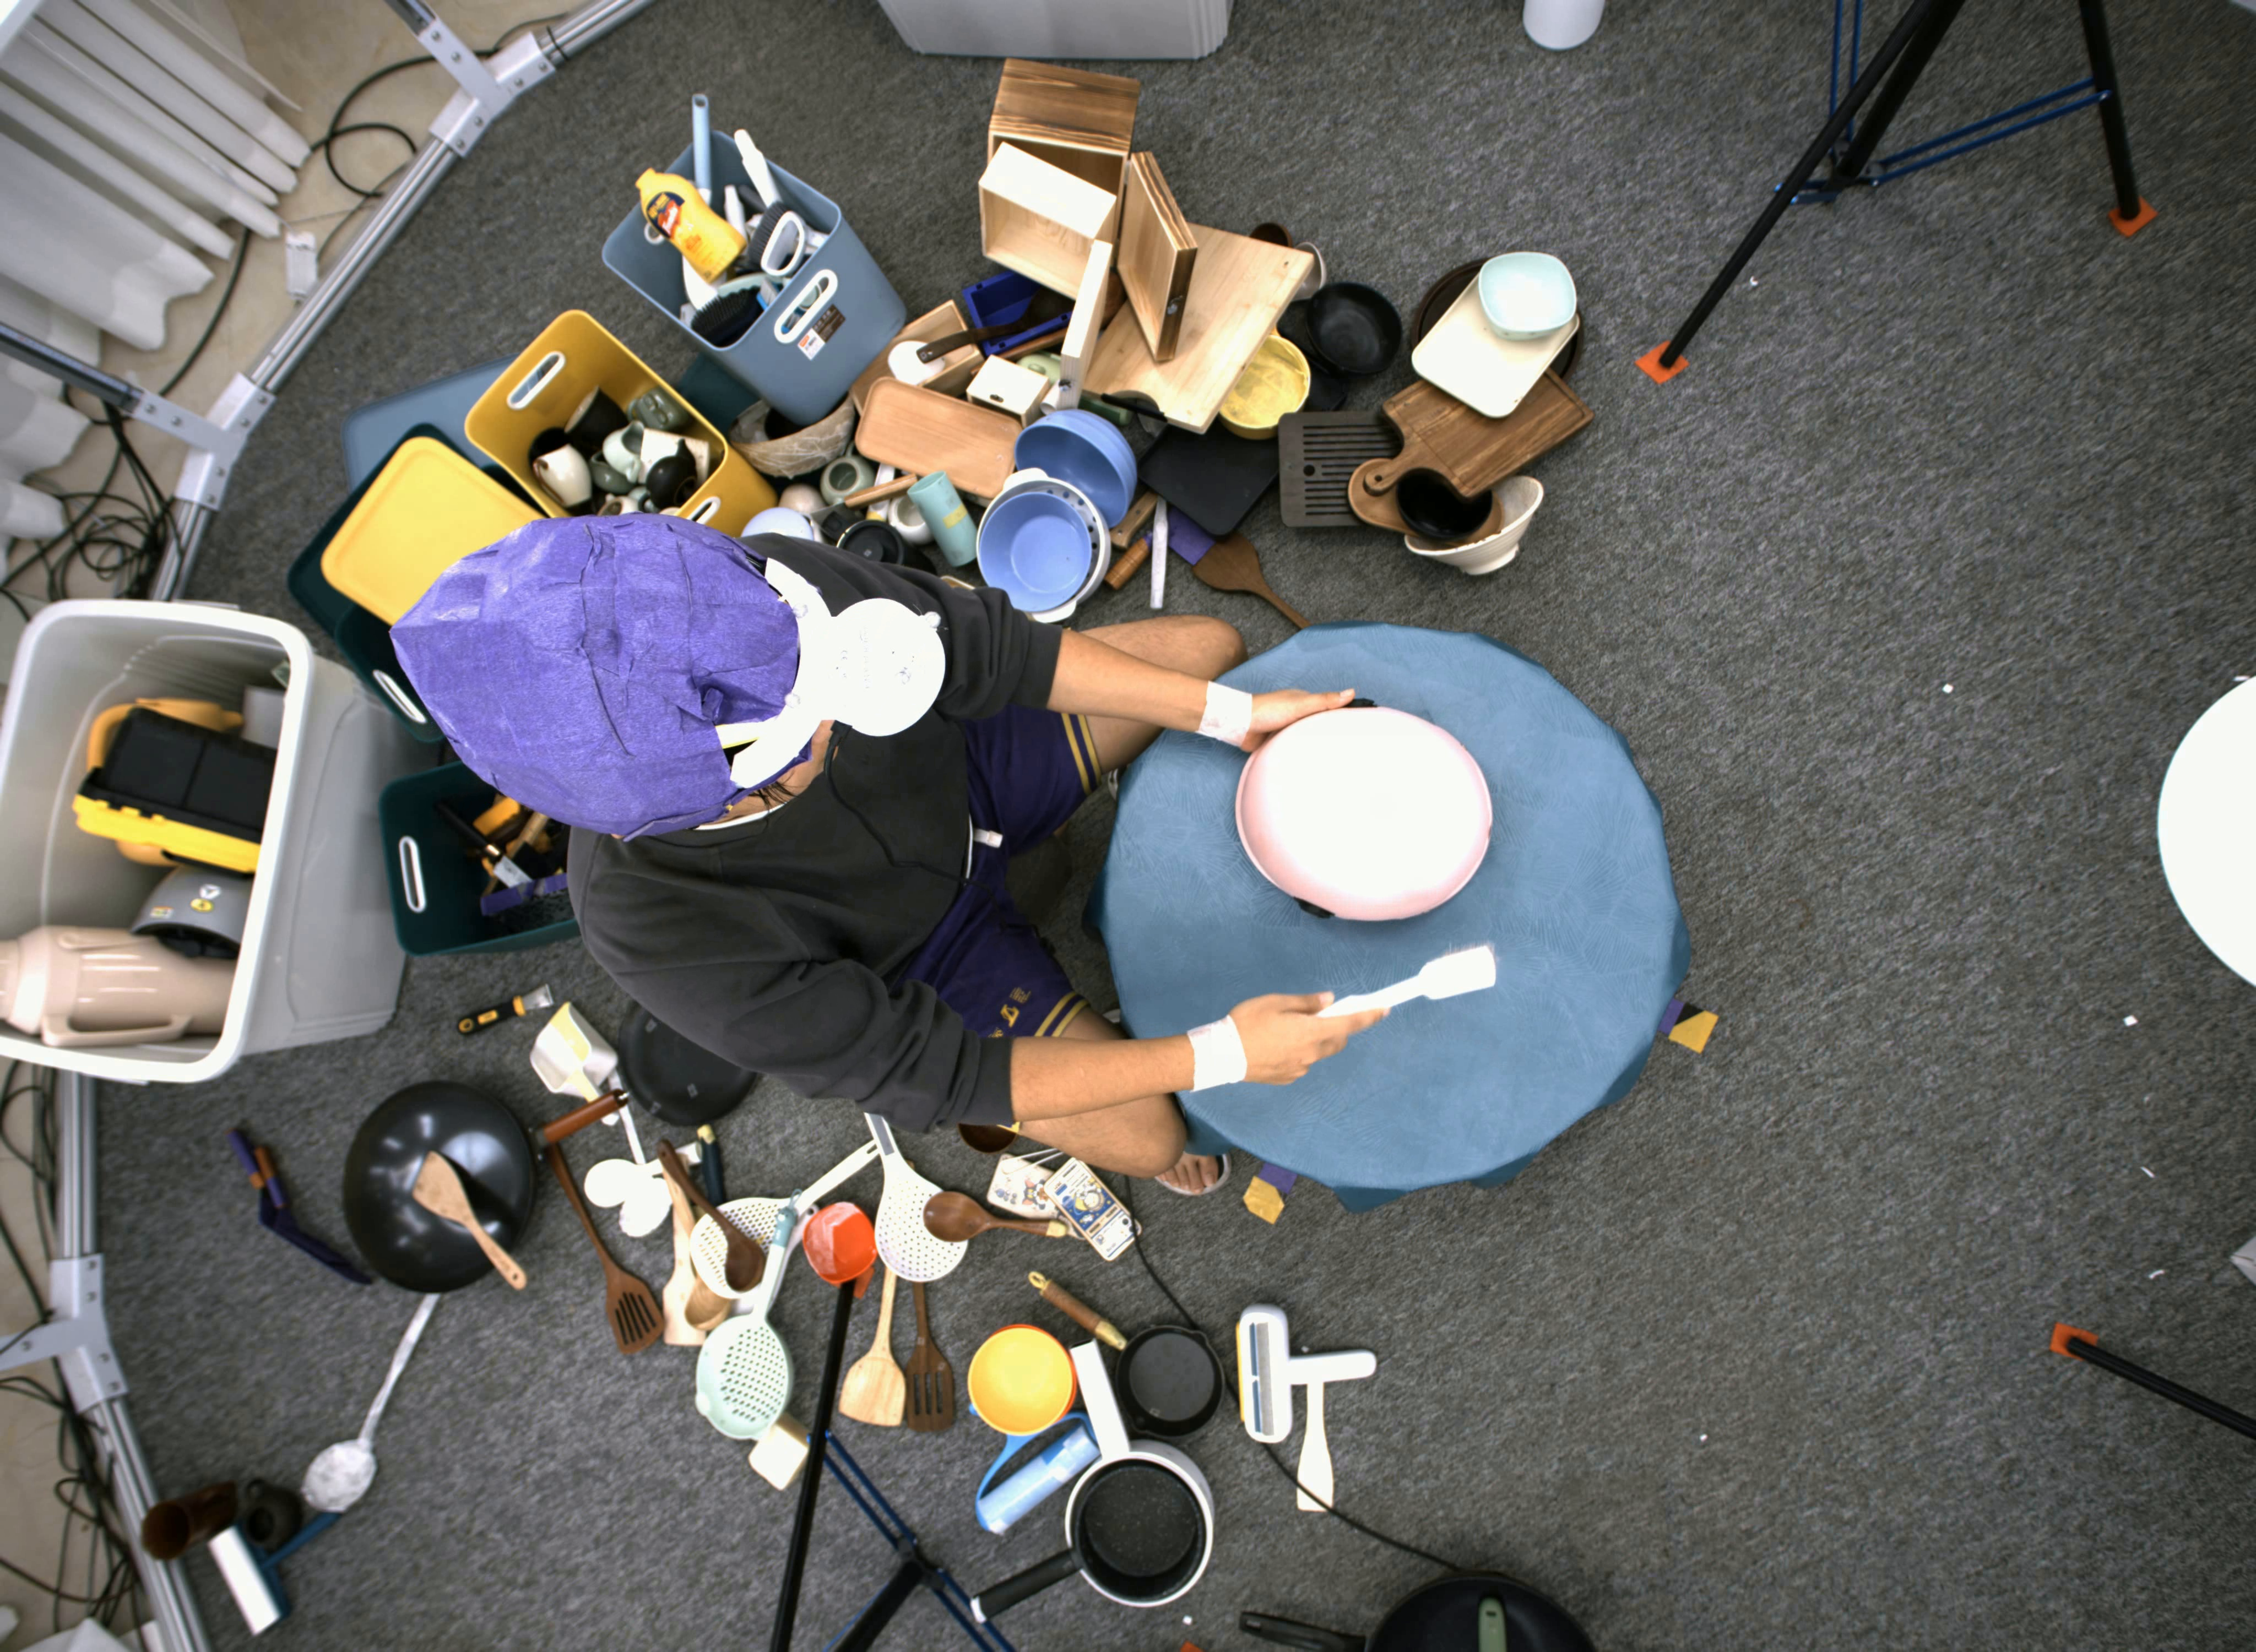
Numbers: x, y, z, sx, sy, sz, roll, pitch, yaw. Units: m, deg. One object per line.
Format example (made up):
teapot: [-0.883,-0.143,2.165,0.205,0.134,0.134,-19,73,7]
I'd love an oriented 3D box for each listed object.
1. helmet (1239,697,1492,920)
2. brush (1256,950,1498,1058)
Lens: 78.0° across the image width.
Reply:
helmet: [0.230,-0.017,1.386,0.266,0.158,0.235,11,95,15]
brush: [0.237,0.169,1.321,0.244,0.050,0.034,-19,95,3]
